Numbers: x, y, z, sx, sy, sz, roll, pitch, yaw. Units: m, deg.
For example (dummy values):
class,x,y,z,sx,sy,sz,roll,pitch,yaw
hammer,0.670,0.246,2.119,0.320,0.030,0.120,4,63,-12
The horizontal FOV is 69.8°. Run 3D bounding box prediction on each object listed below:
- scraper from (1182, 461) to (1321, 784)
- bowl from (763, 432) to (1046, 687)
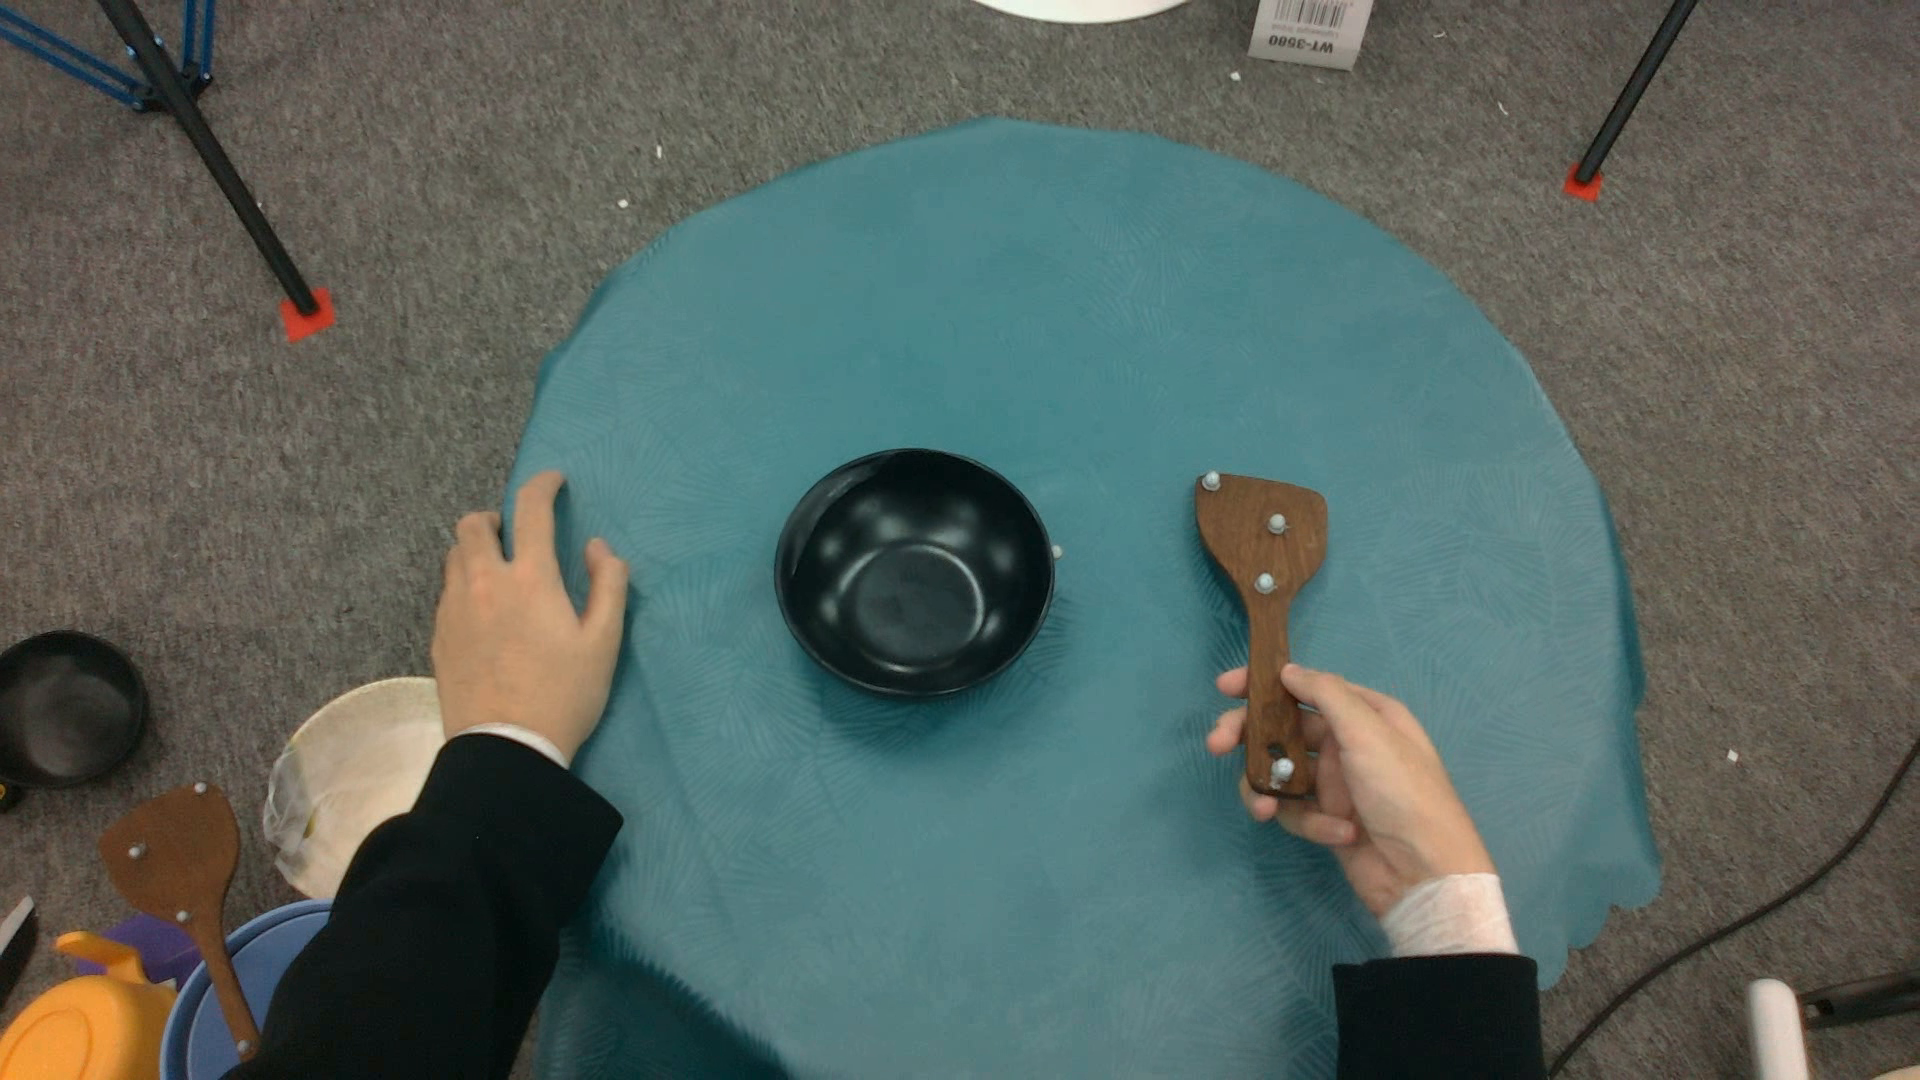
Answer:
class,x,y,z,sx,sy,sz,roll,pitch,yaw
scraper,0.148,0.035,0.684,0.076,0.011,0.212,11,43,-1
bowl,-0.029,0.016,0.693,0.140,0.049,0.140,3,61,-5
